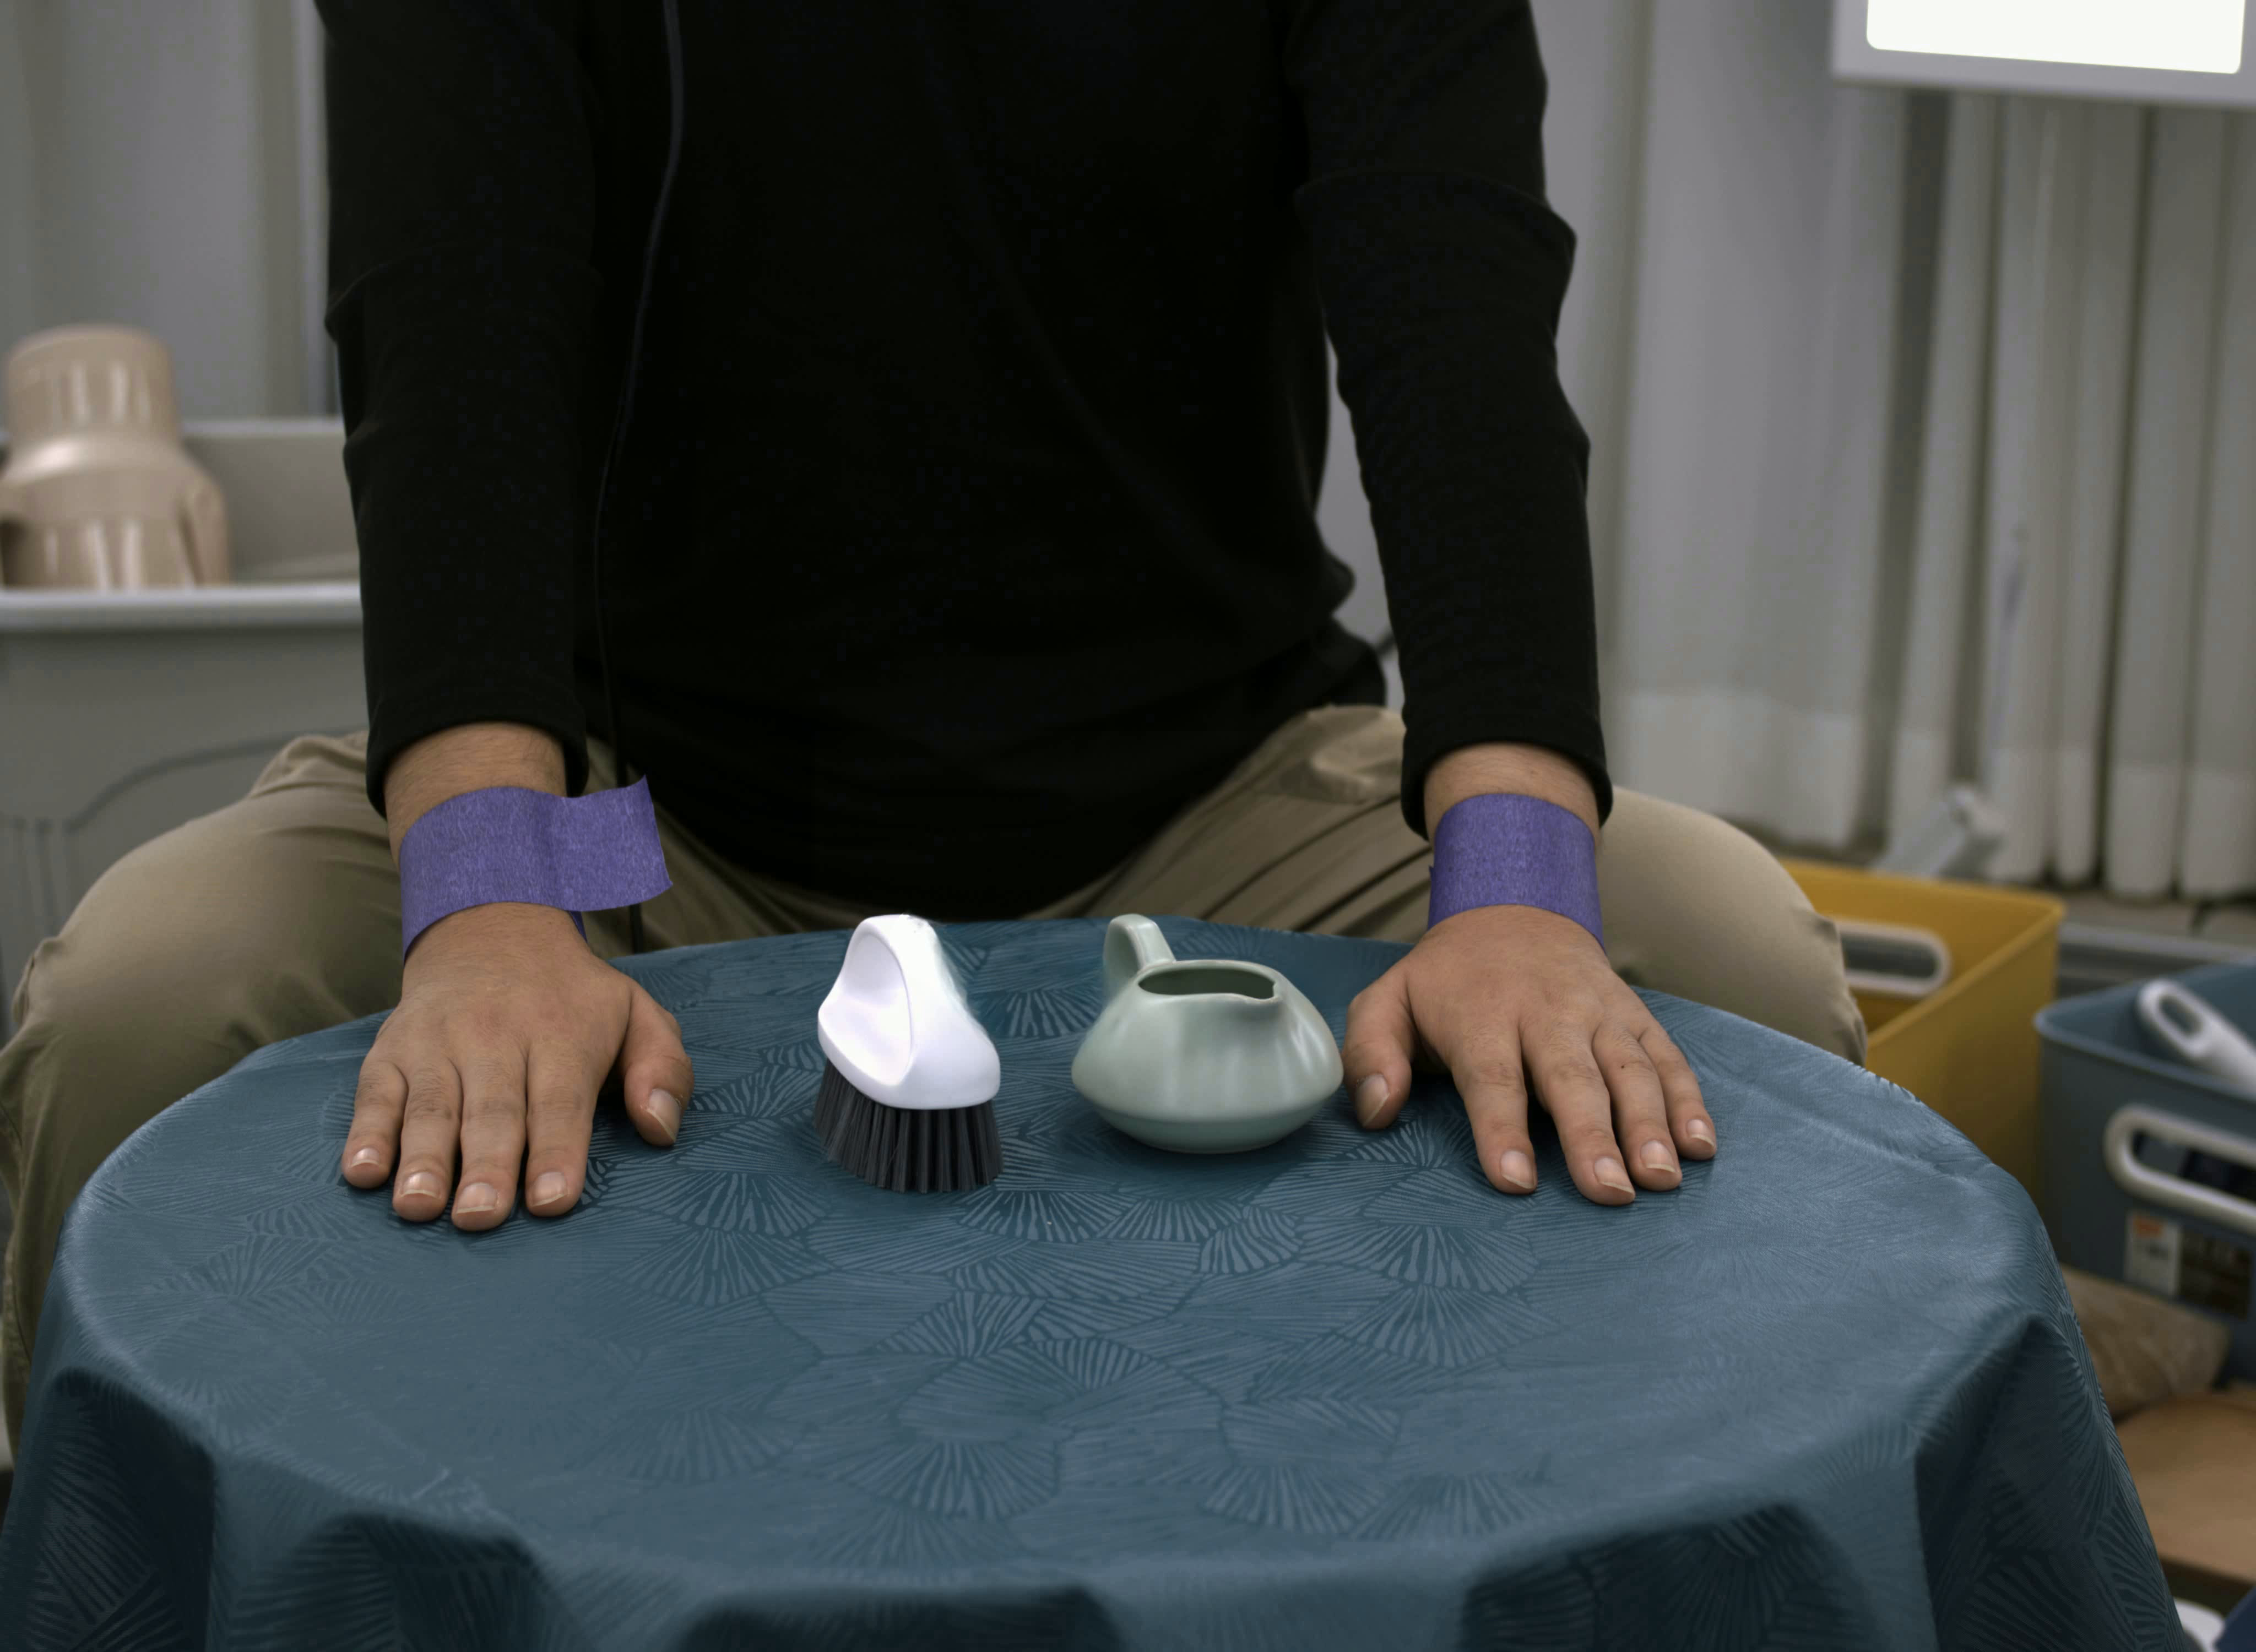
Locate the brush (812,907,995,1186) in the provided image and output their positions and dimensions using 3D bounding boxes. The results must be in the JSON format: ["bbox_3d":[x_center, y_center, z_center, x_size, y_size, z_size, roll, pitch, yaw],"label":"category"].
[{"bbox_3d":[-0.070,0.064,1.652,0.050,0.073,0.098,-2,17,-15],"label":"brush"}]

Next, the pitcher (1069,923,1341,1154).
[{"bbox_3d":[0.019,0.068,1.679,0.086,0.061,0.106,-8,15,-30],"label":"pitcher"}]
